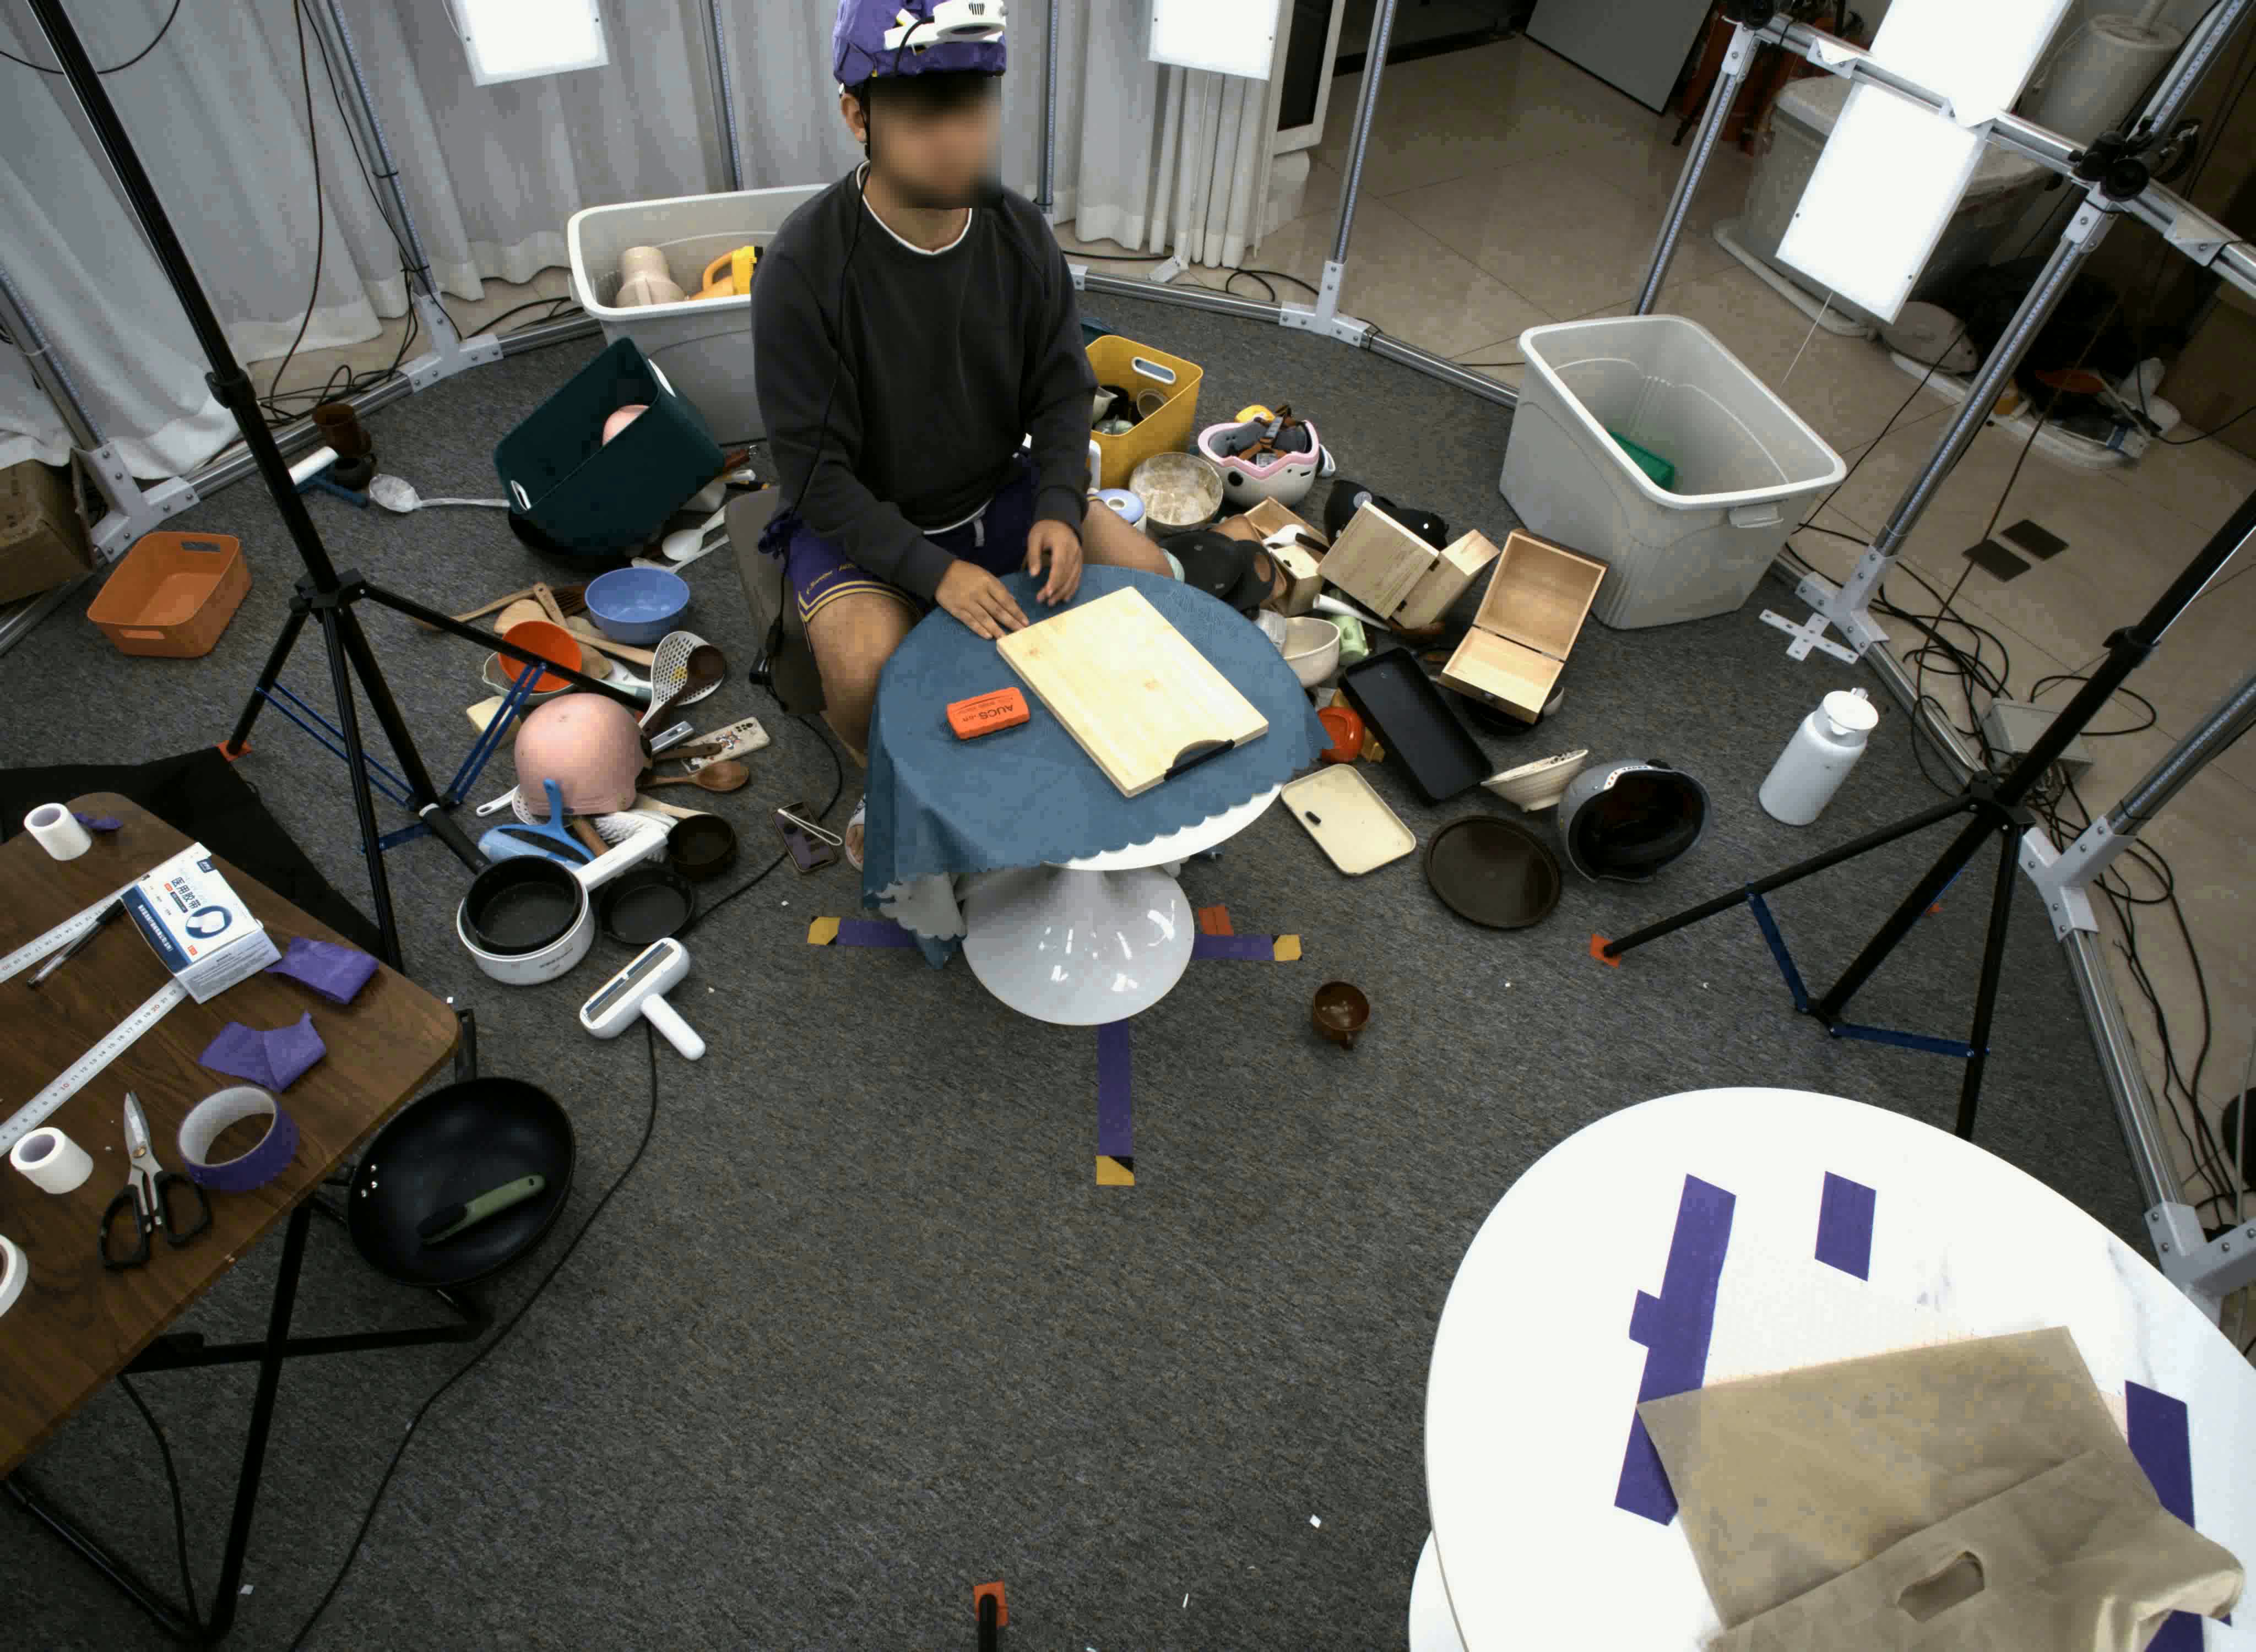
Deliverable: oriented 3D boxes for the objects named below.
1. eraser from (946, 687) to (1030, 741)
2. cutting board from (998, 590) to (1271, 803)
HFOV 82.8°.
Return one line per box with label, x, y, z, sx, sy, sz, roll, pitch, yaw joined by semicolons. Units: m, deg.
eraser;-0.193;-0.155;1.771;0.108;0.022;0.060;-17;53;-18
cutting board;0.005;-0.197;1.827;0.252;0.023;0.355;-26;55;-24
